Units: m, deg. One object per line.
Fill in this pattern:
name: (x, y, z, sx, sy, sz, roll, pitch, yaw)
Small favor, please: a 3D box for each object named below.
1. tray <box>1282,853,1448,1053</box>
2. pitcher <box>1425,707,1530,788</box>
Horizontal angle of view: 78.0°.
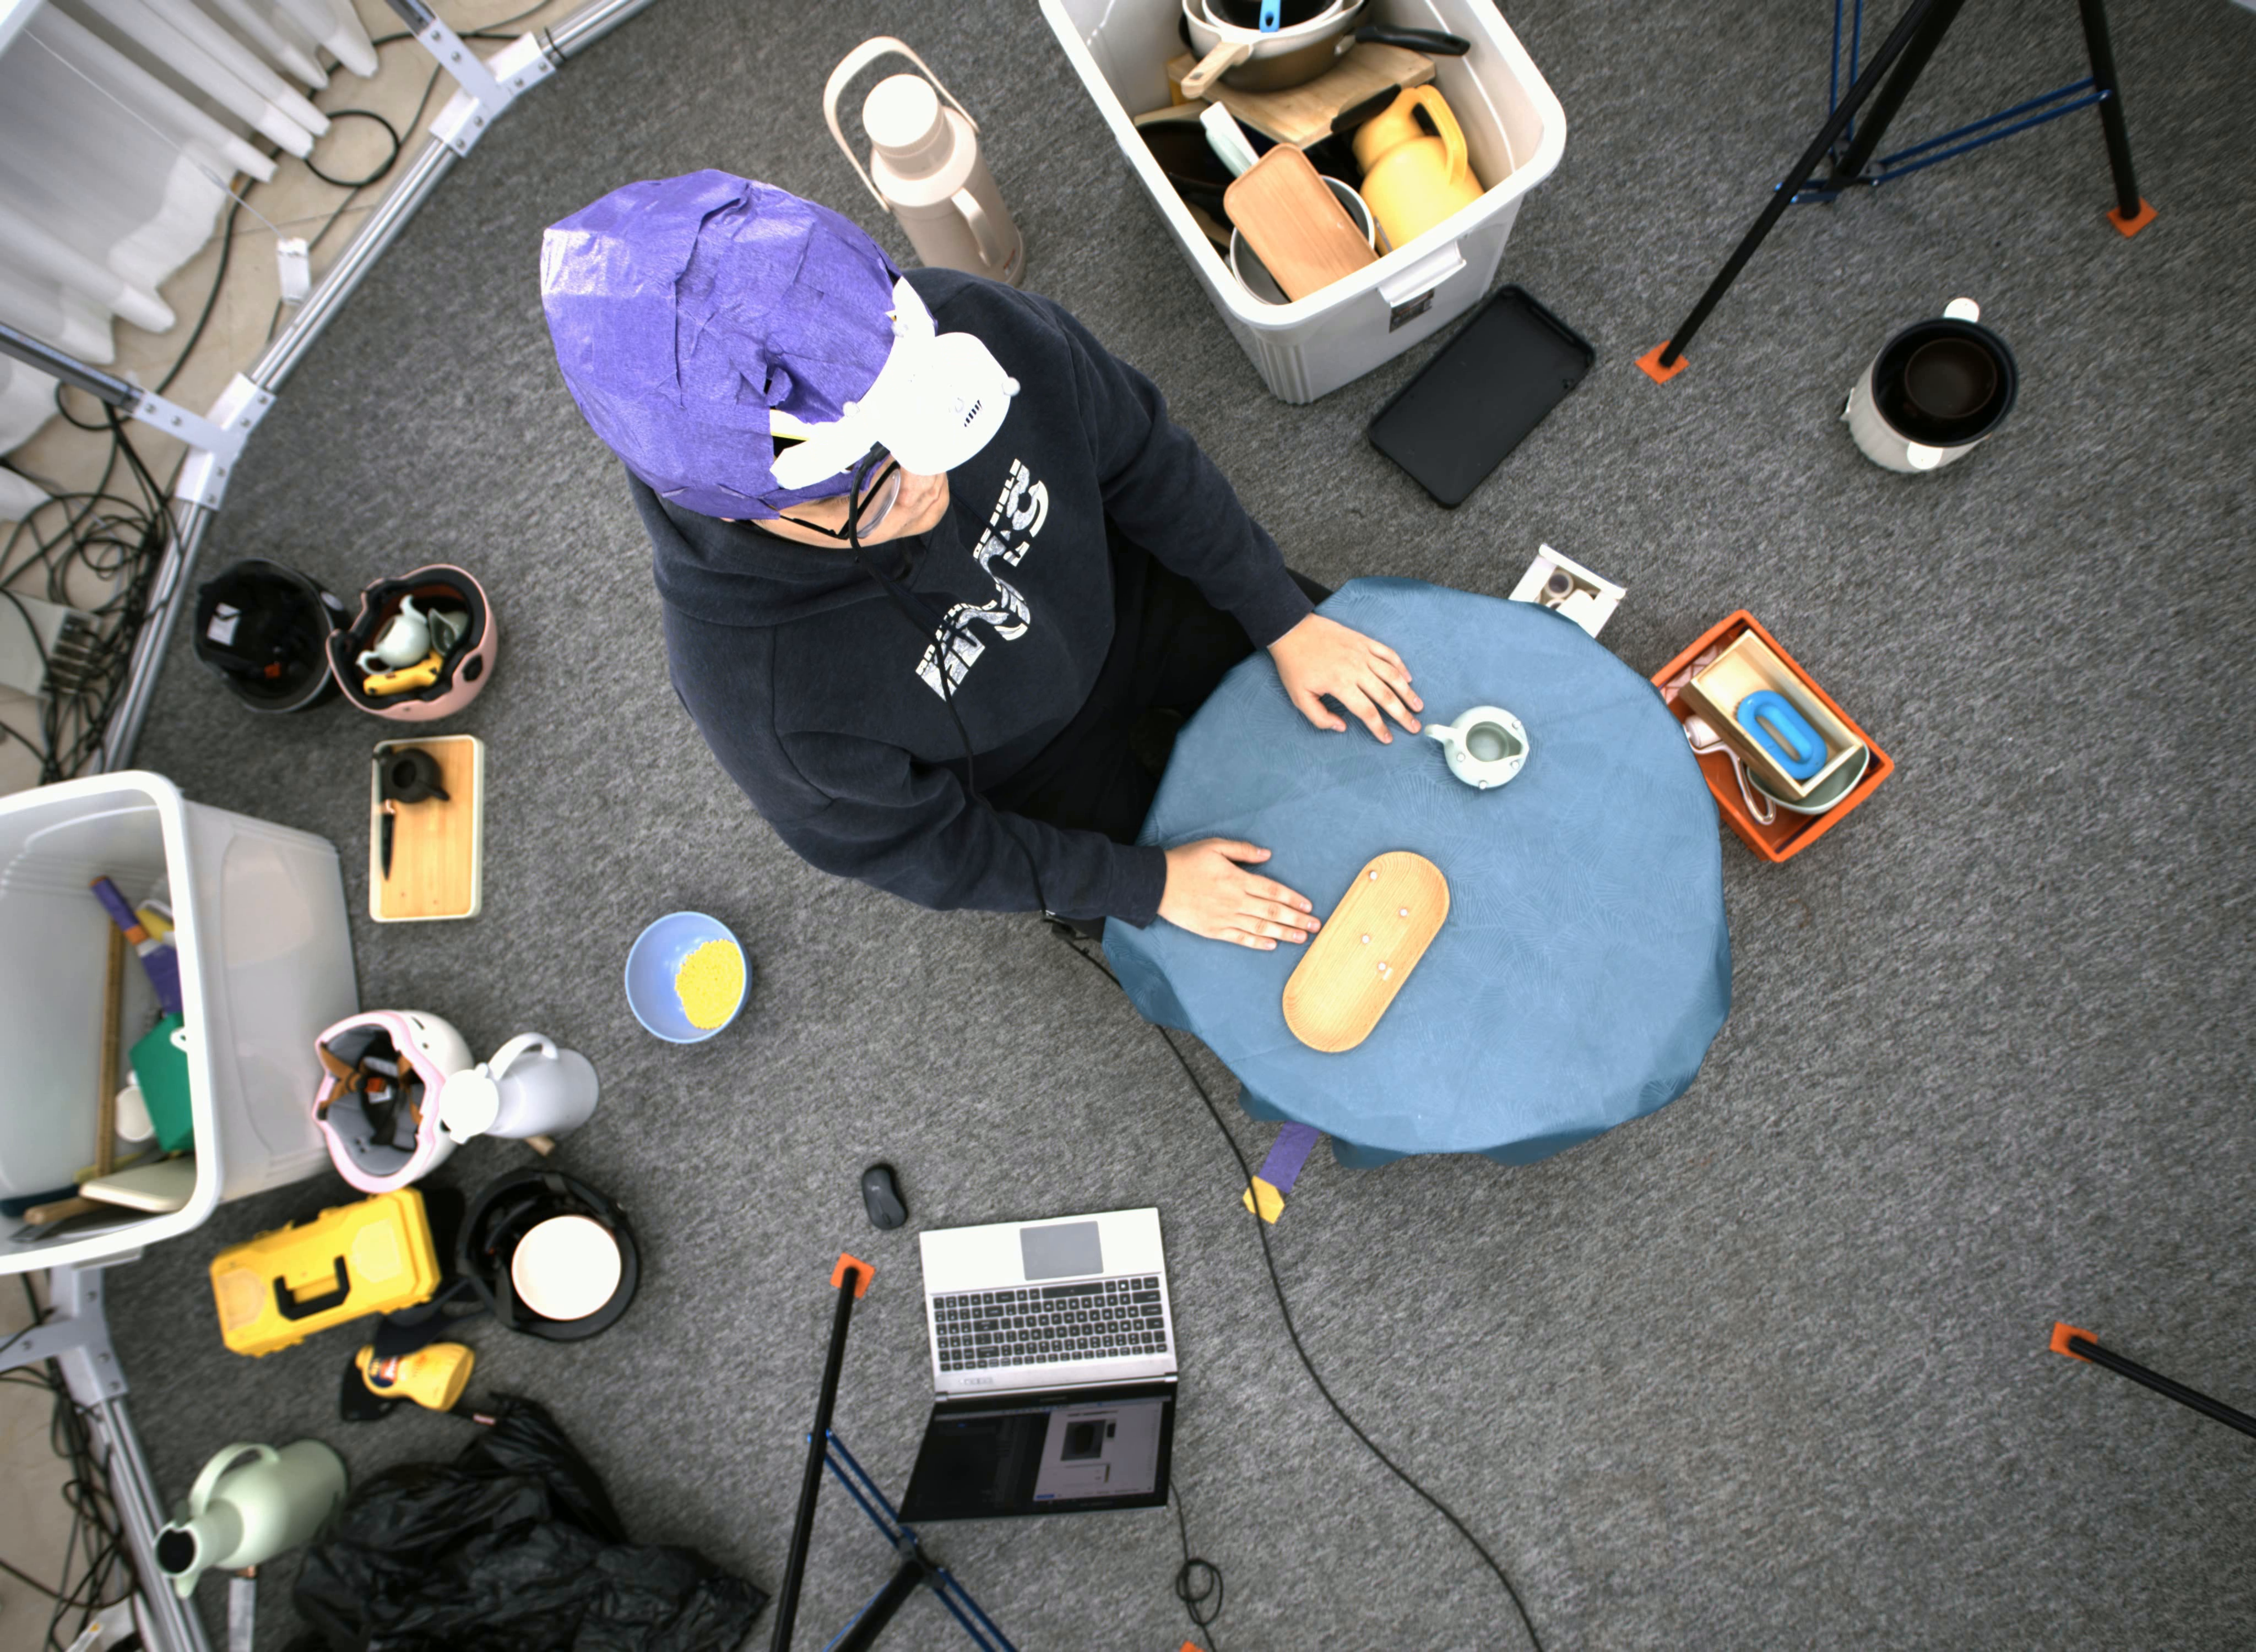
tray: (0.249, 0.132, 1.454, 0.101, 0.020, 0.232, 34, 95, 12)
pitcher: (0.362, -0.088, 1.425, 0.108, 0.060, 0.086, 12, 87, 14)
